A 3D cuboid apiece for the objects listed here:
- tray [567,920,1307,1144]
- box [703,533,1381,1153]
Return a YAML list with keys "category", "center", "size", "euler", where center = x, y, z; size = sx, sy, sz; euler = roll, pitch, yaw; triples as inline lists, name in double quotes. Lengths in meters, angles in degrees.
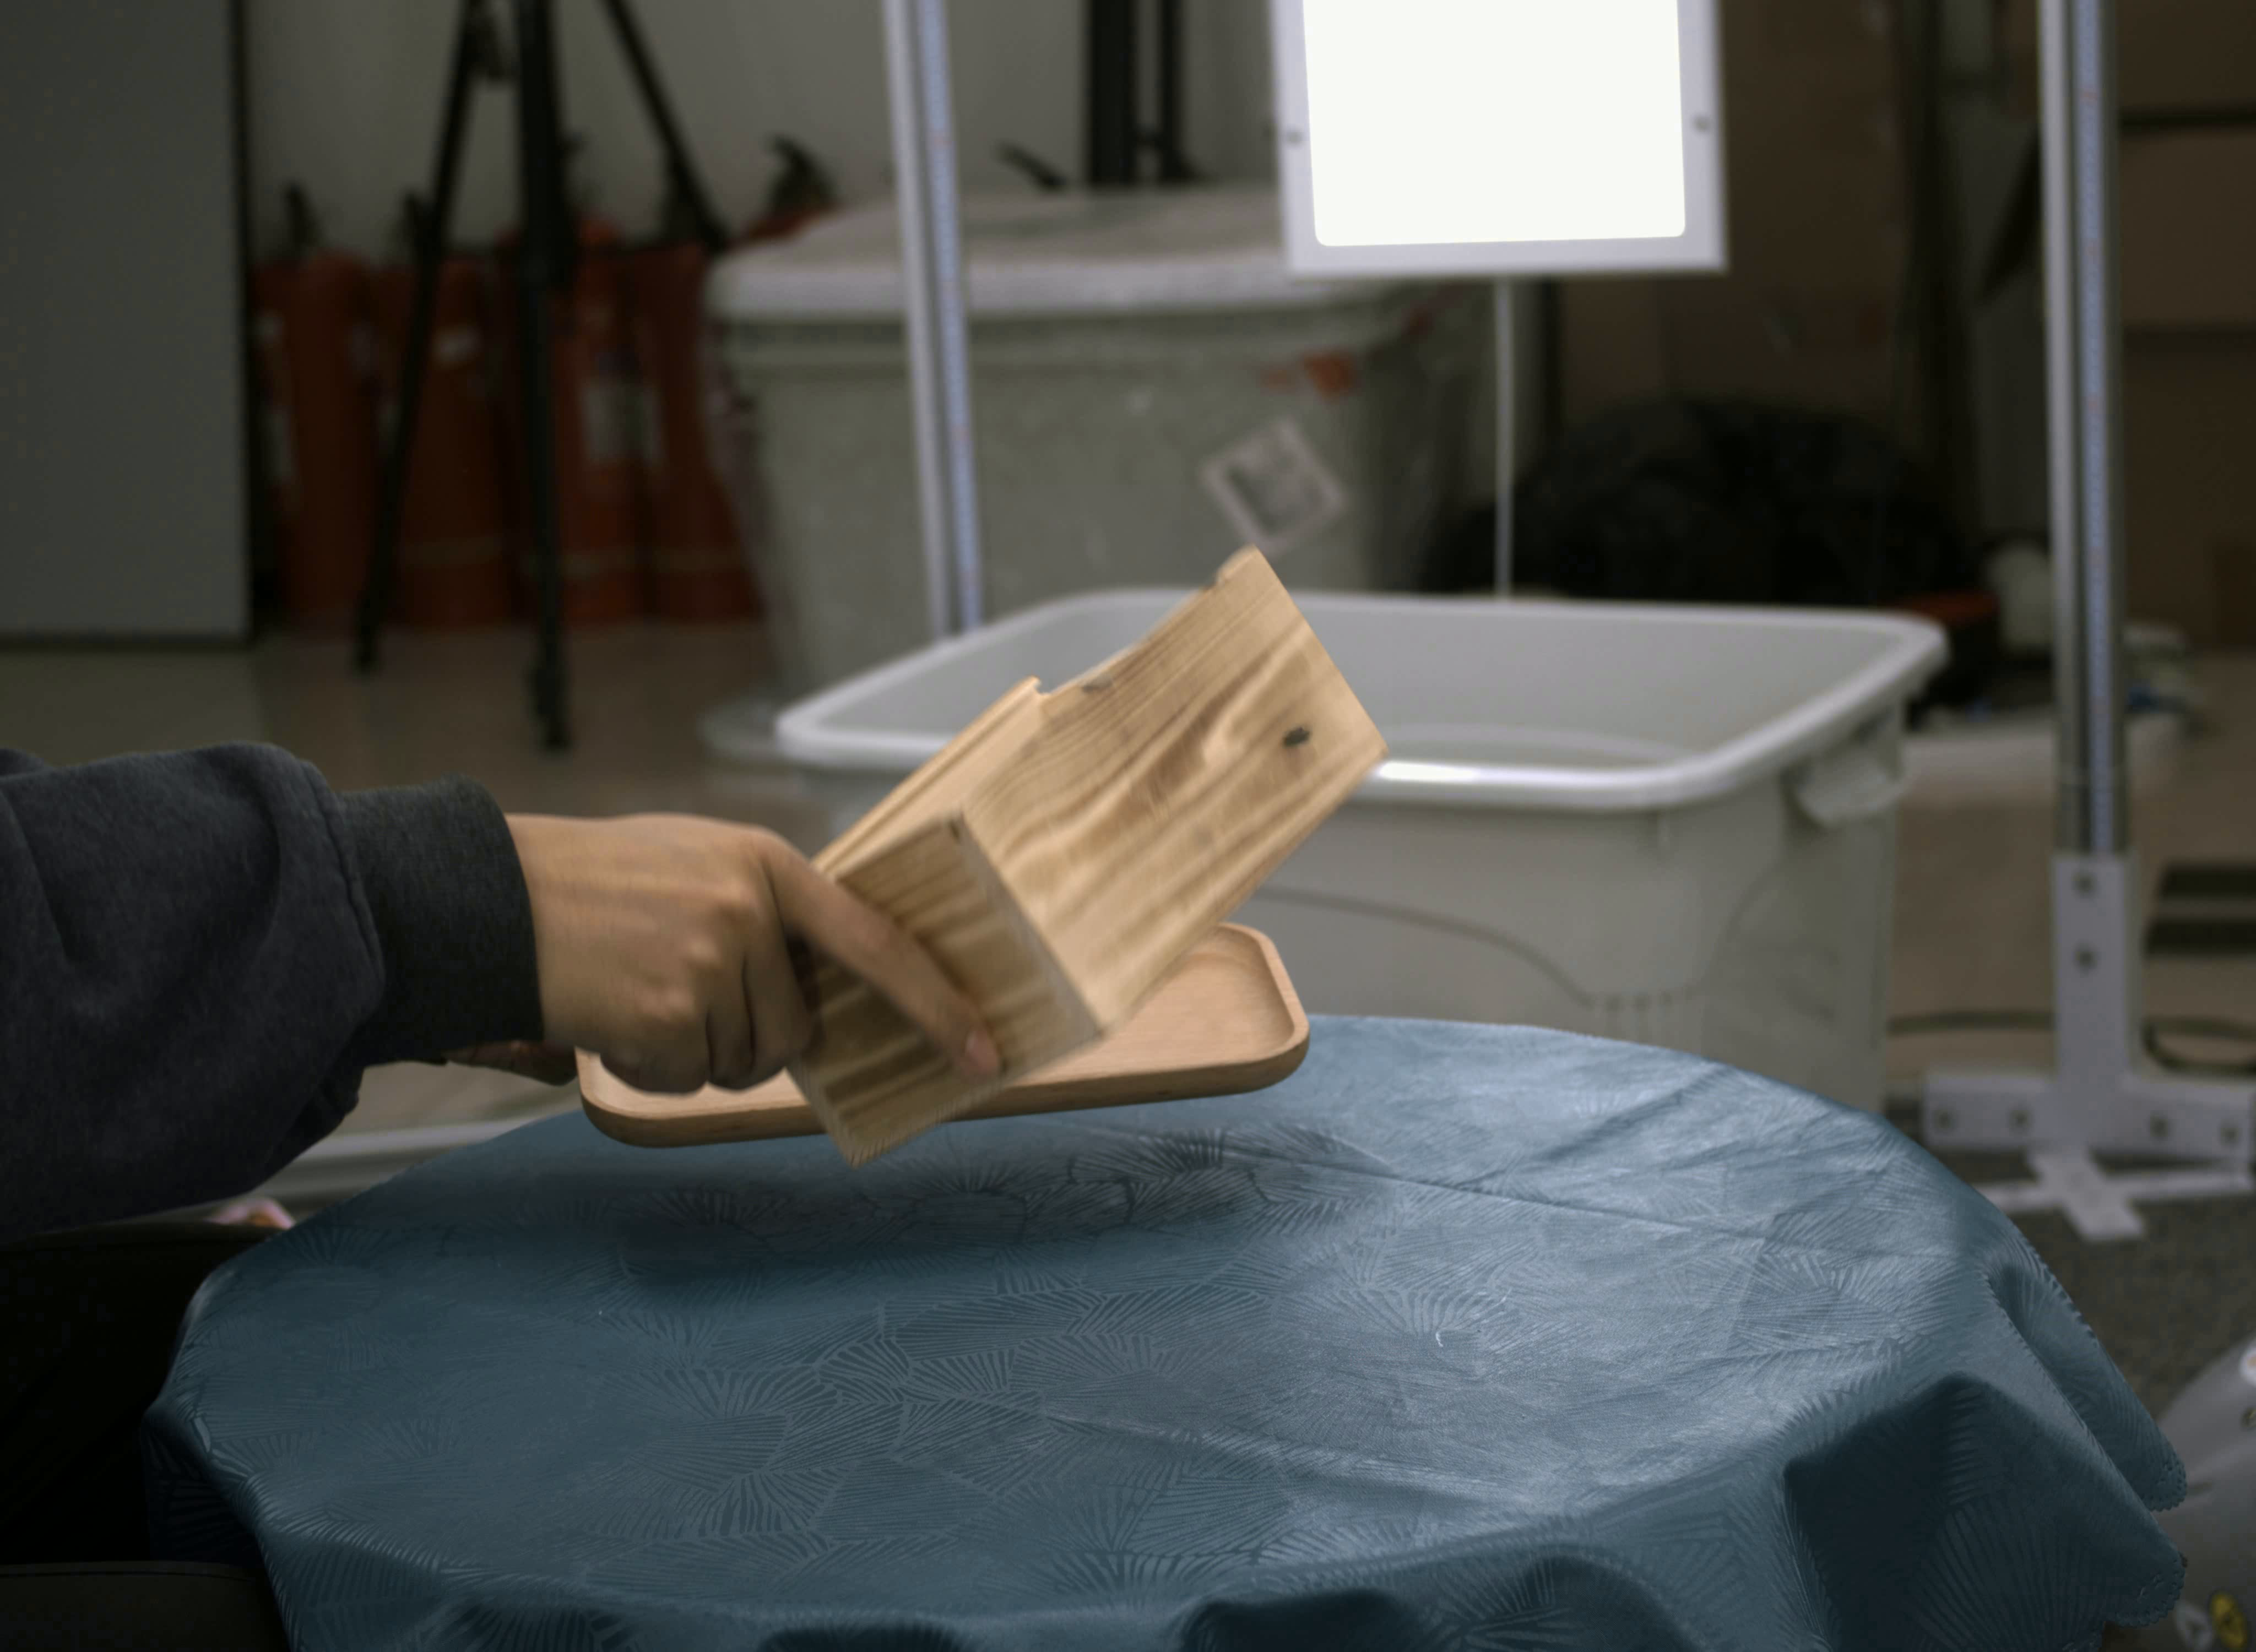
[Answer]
- category: "tray"
  center: [-0.067, 0.071, 1.903]
  size: [0.249, 0.023, 0.131]
  euler: [-5, 19, -4]
- category: "box"
  center: [-0.022, 0.003, 1.670]
  size: [0.110, 0.080, 0.207]
  euler: [-31, 7, 35]
